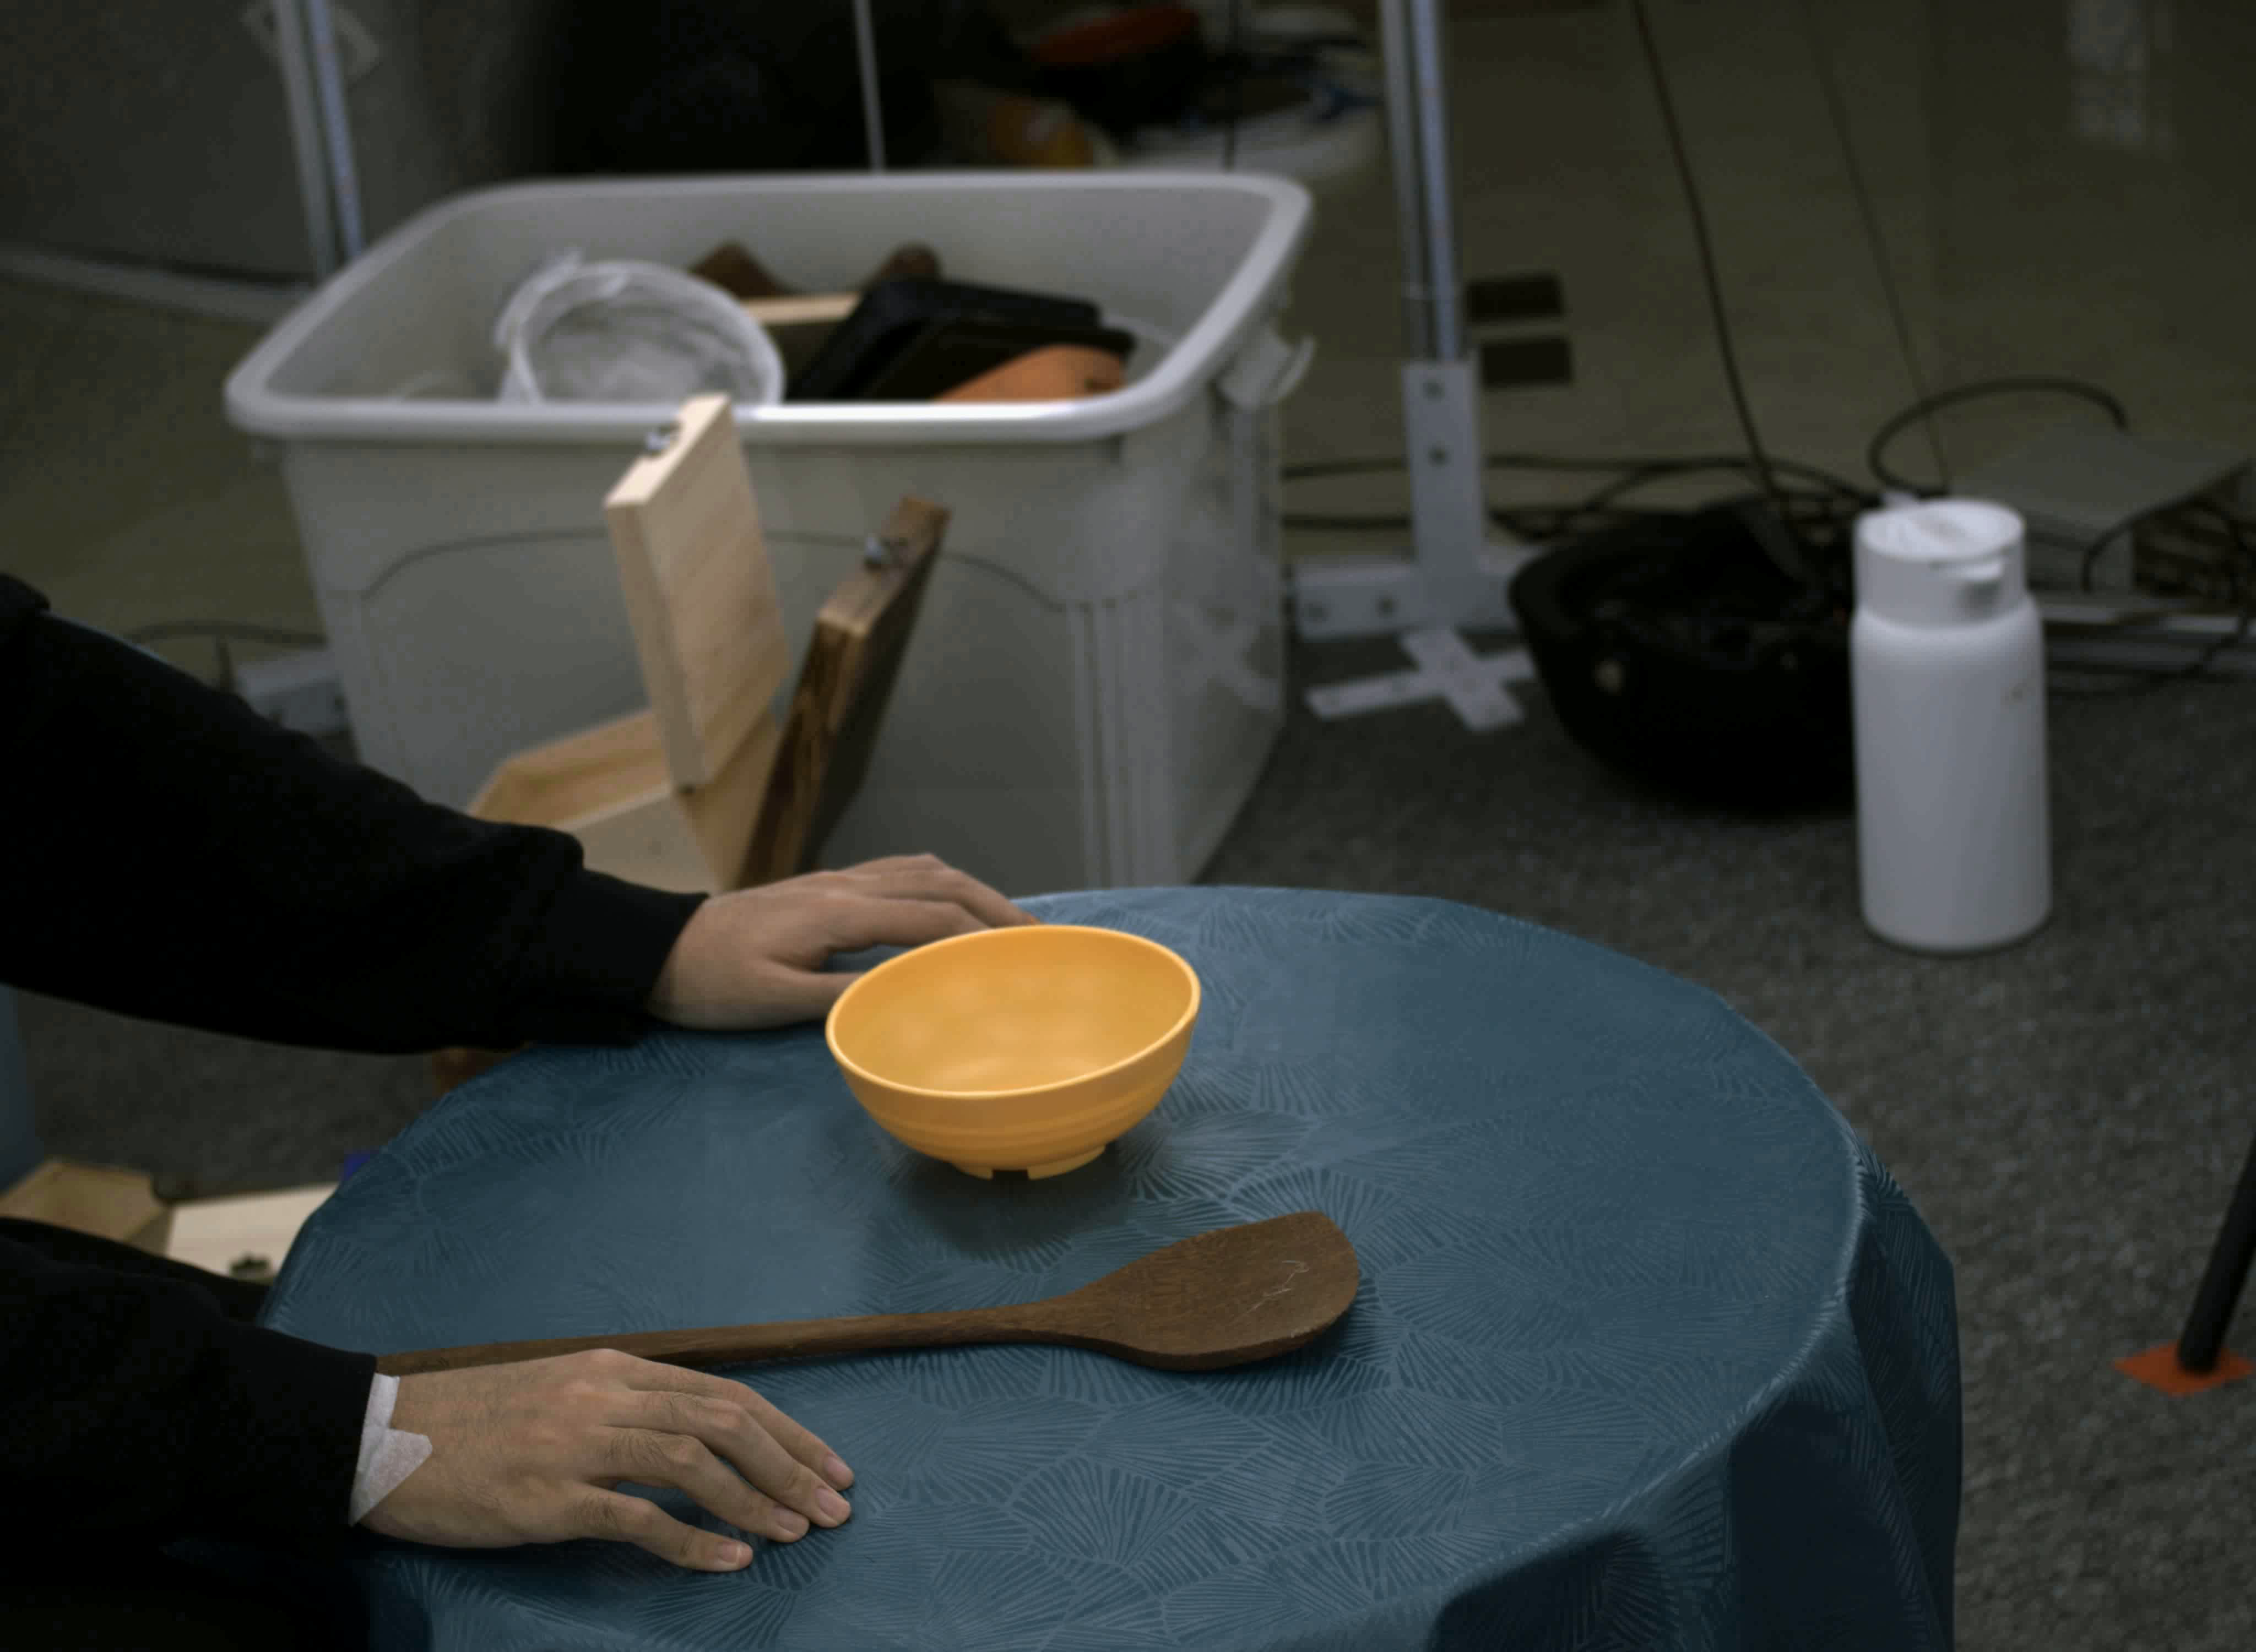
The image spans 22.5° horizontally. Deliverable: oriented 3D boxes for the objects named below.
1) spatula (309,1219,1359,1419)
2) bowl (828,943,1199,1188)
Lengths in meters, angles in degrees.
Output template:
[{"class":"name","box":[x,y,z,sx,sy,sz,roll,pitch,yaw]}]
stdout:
[{"class":"spatula","box":[-0.108,0.186,2.062,0.385,0.016,0.095,-6,24,2]},{"class":"bowl","box":[-0.041,0.099,2.183,0.145,0.061,0.143,-6,22,3]}]
